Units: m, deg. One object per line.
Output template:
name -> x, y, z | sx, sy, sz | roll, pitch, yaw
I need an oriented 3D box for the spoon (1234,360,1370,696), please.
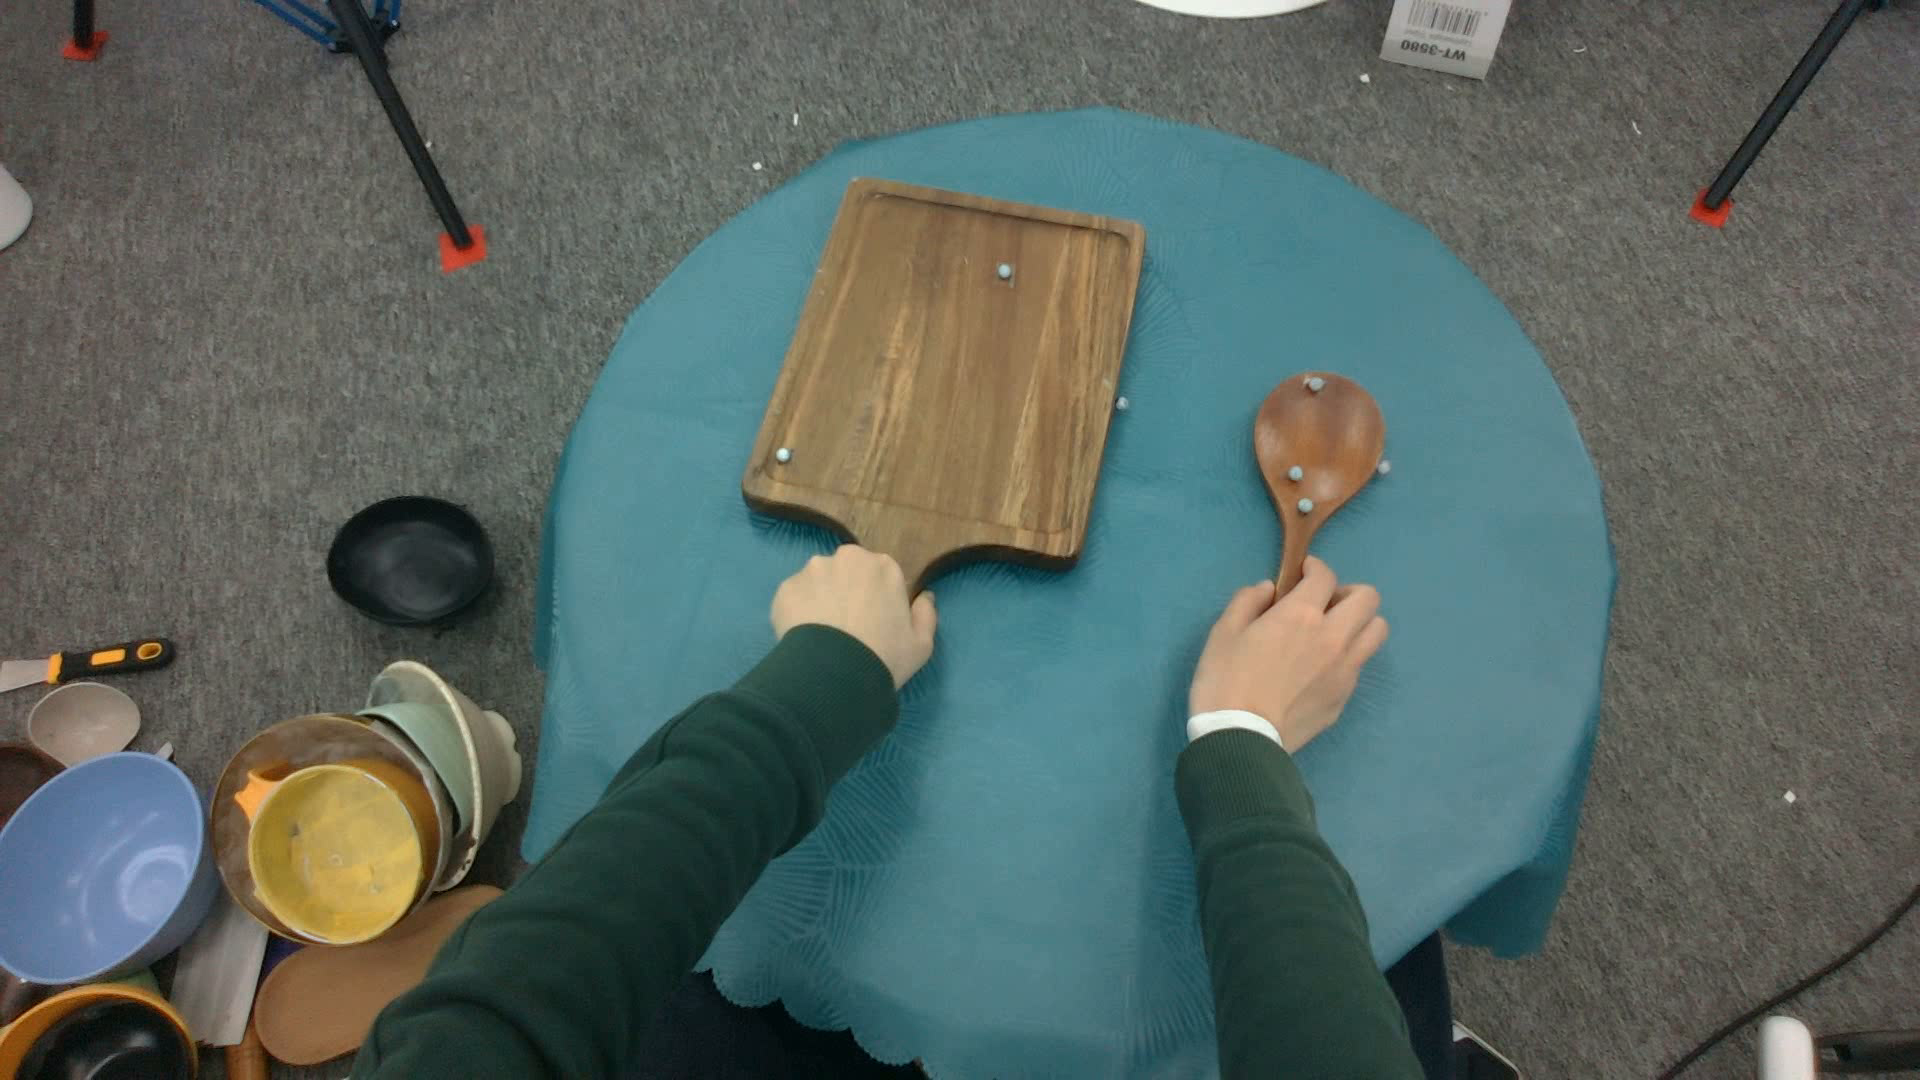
spoon -> 0.183, -0.011, 0.770 | 0.075, 0.017, 0.217 | 15, 62, 6

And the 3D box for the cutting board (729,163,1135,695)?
cutting board -> -0.020, -0.074, 0.799 | 0.201, 0.023, 0.353 | 12, 61, 5
